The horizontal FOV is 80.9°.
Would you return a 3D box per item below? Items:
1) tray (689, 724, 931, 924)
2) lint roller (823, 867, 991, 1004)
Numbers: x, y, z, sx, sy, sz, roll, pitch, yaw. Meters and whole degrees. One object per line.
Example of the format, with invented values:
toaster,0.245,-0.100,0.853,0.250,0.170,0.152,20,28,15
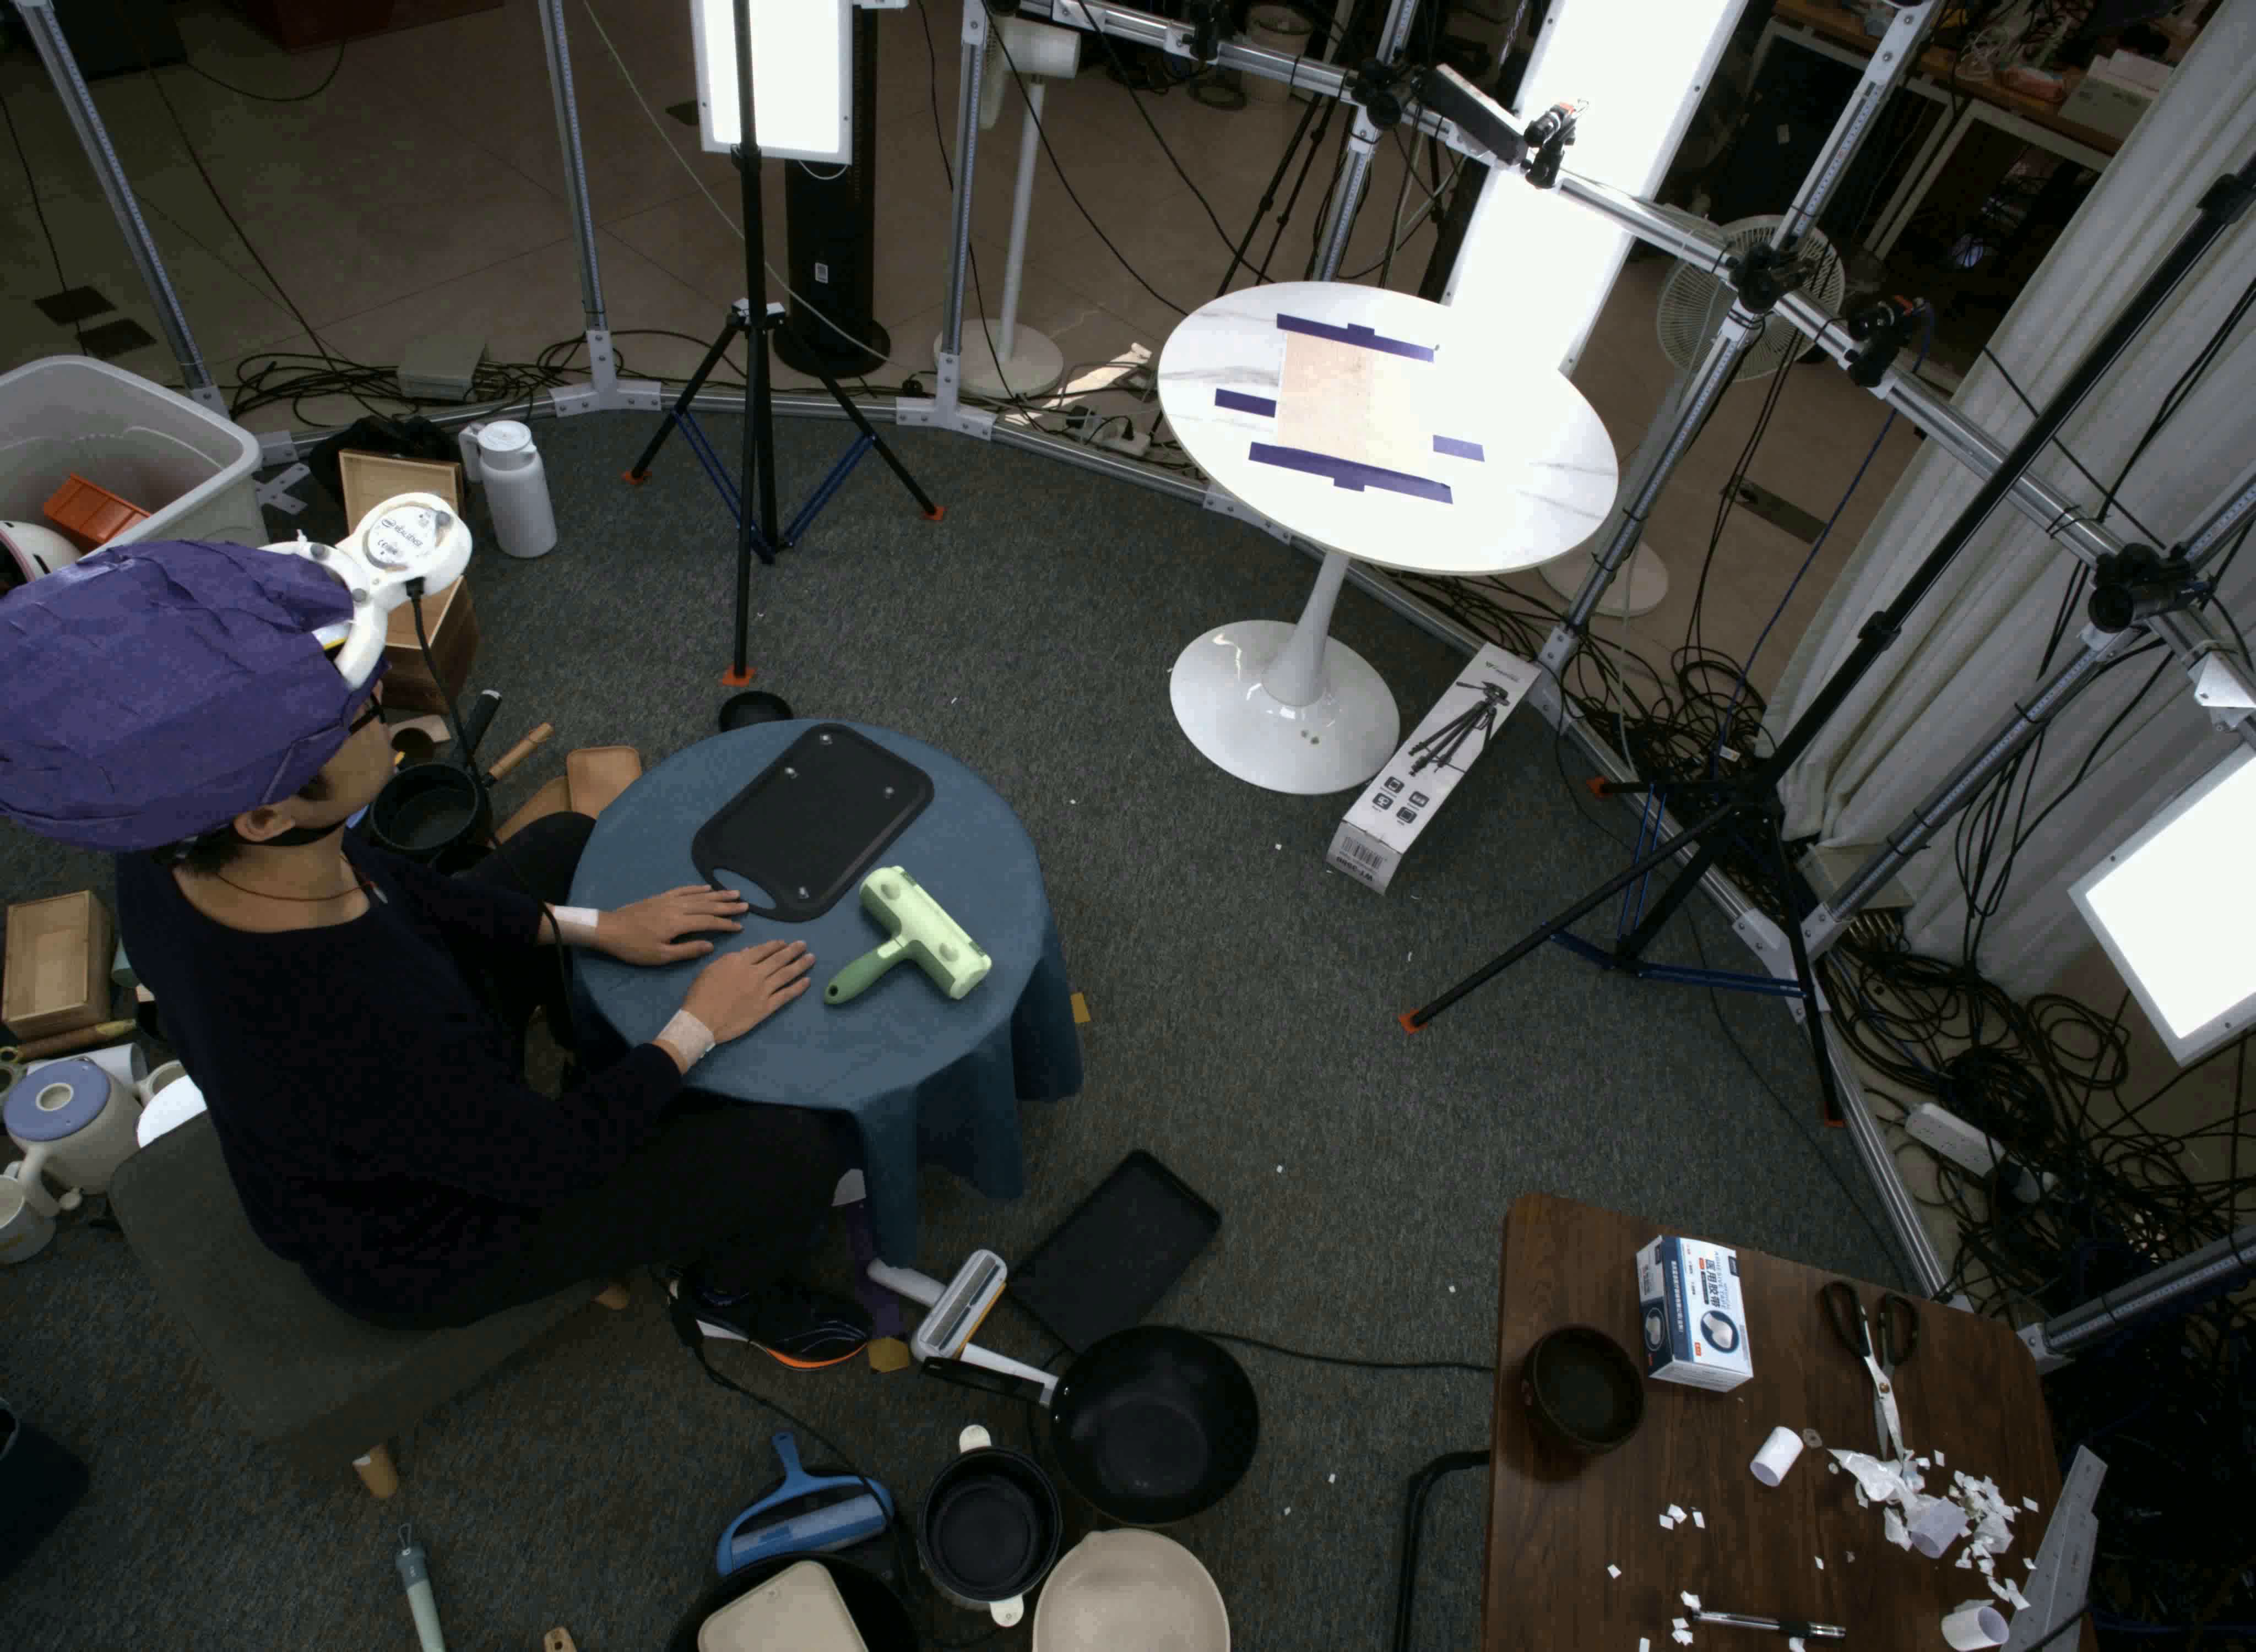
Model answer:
tray,-0.420,-0.007,1.716,0.208,0.010,0.324,31,52,9
lint roller,-0.294,0.147,1.583,0.194,0.084,0.184,42,48,19
